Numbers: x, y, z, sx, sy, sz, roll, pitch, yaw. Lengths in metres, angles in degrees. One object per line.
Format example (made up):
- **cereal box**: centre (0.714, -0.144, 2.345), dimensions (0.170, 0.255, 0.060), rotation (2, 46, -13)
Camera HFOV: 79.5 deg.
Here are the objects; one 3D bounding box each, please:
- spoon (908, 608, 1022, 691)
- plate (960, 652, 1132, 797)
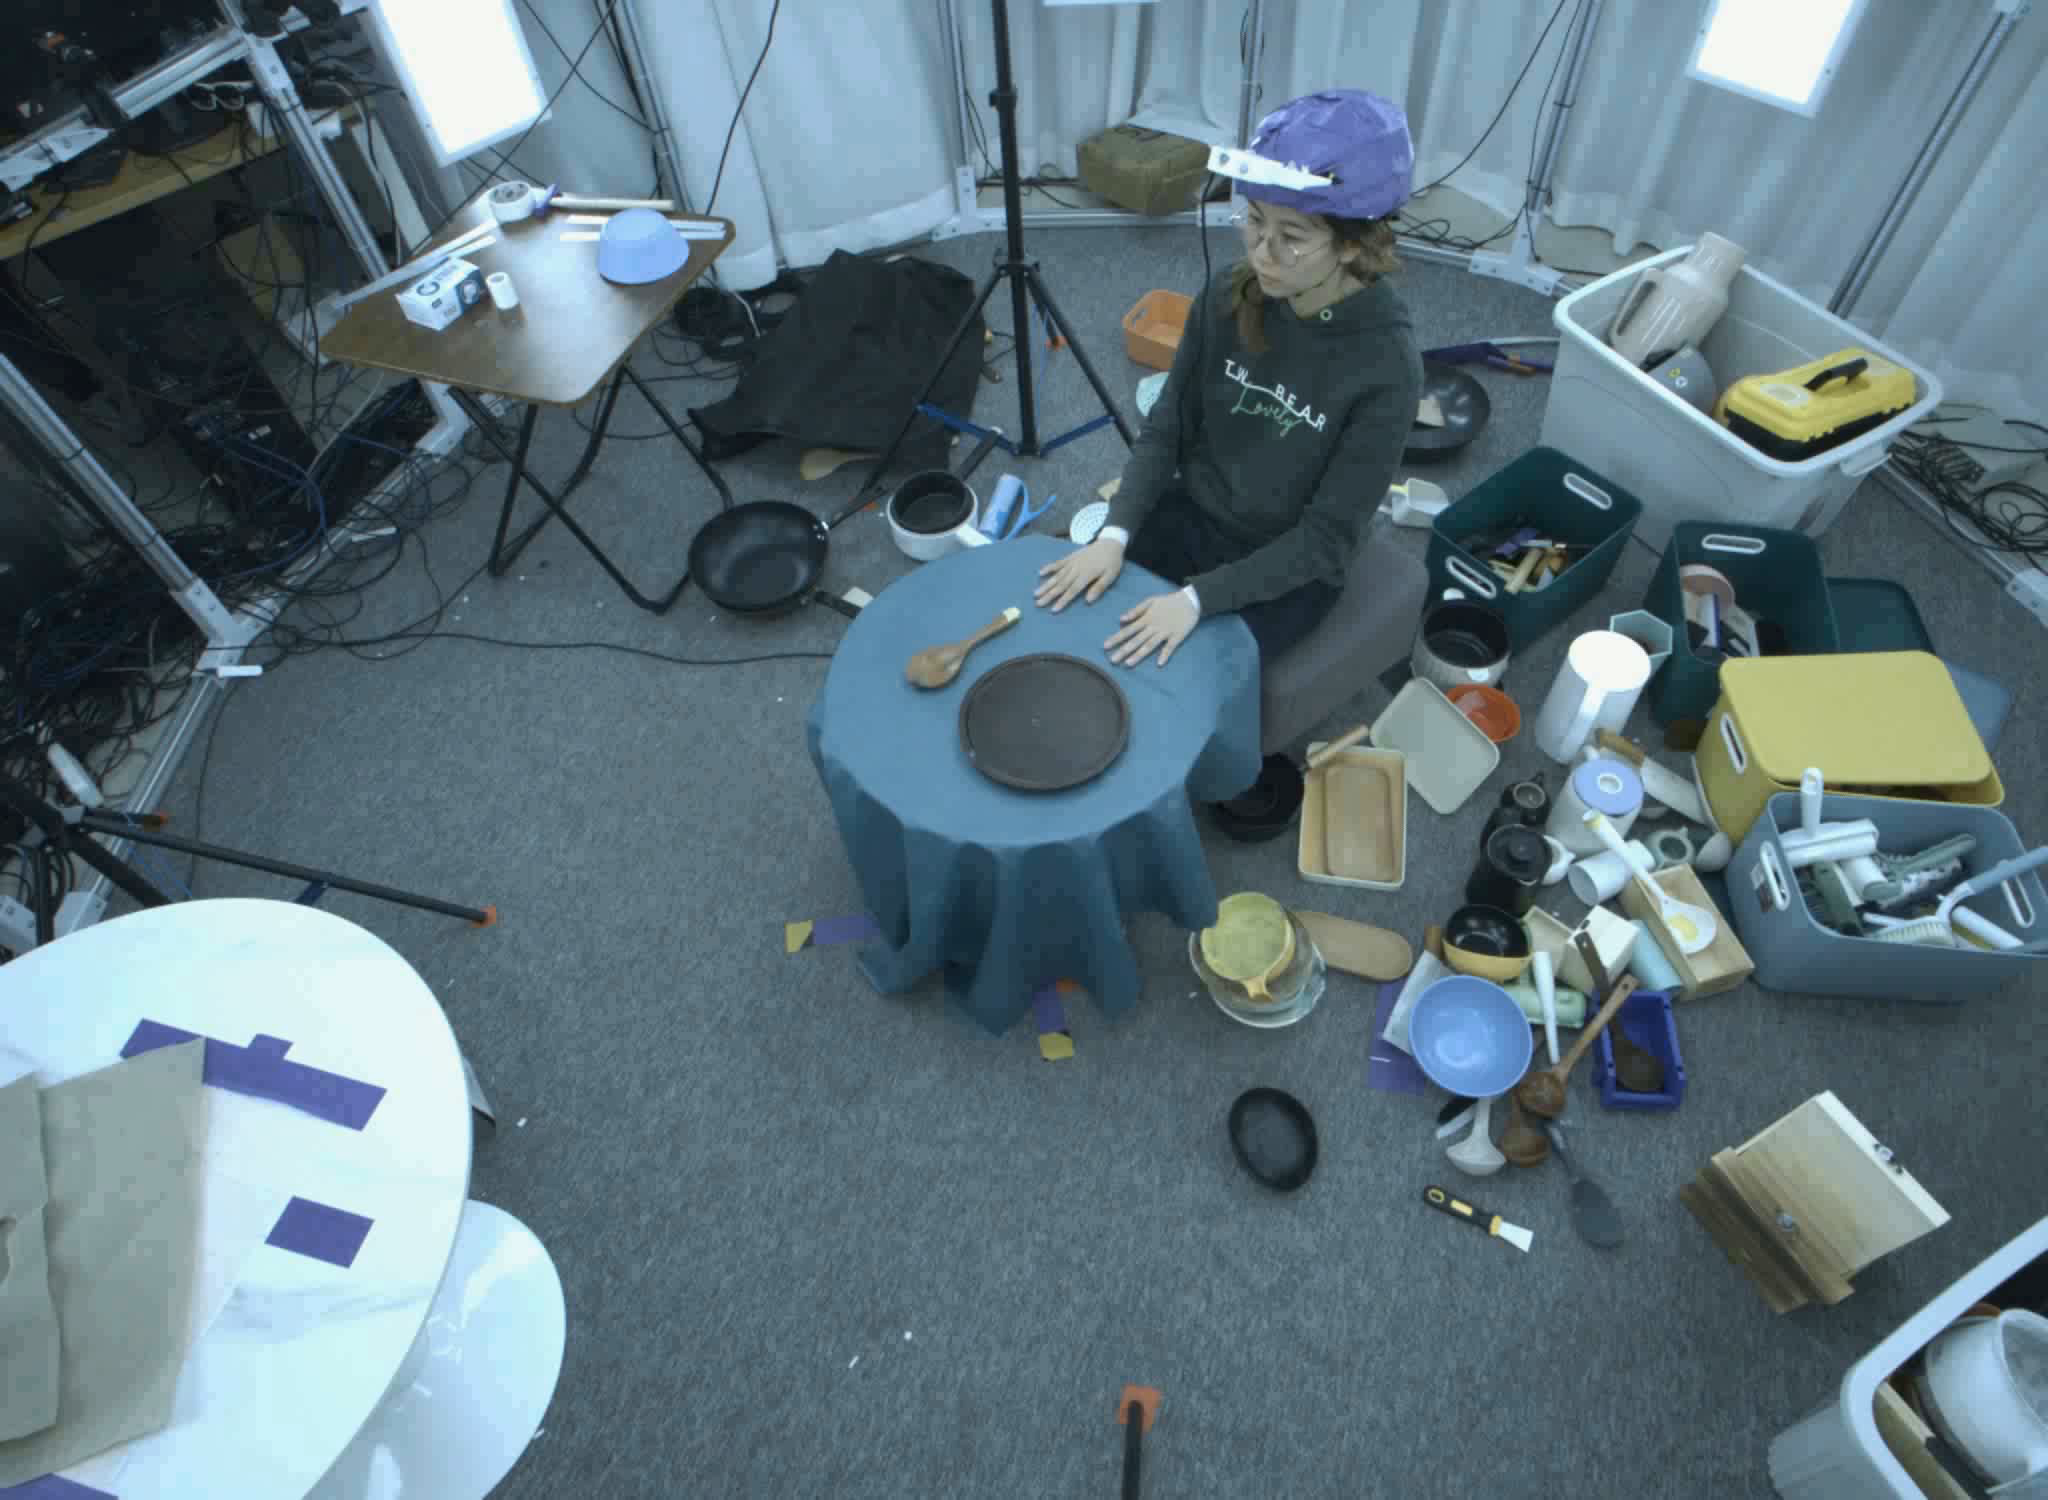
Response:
- **spoon**: centre (-0.087, -0.157, 1.900), dimensions (0.217, 0.017, 0.074), rotation (-37, 62, -22)
- **plate**: centre (0.032, -0.036, 1.809), dimensions (0.254, 0.029, 0.252), rotation (0, 56, 1)
